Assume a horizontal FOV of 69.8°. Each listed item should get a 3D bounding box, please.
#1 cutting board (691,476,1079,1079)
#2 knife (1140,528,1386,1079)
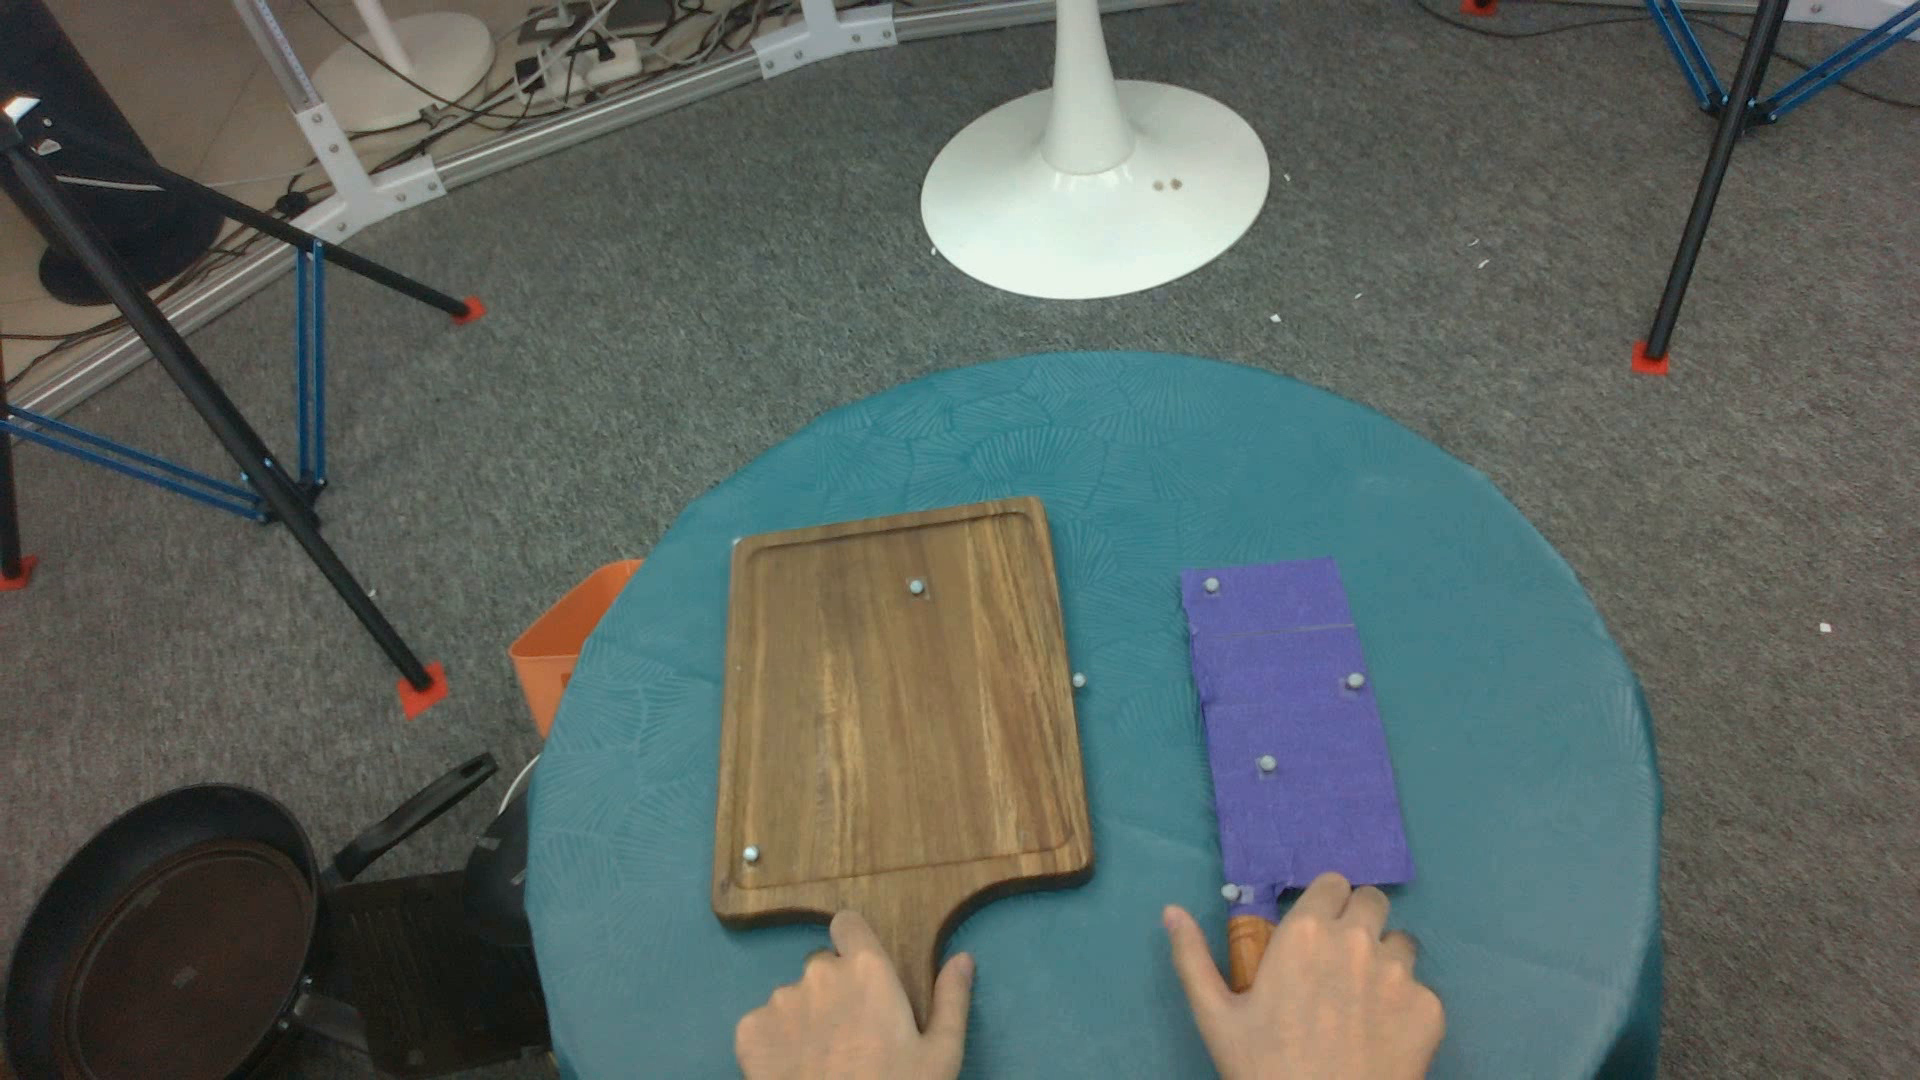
[{"bbox_3d":[-0.045,0.114,0.739,0.201,0.023,0.353,-8,51,2],"label":"cutting board"},{"bbox_3d":[0.162,0.114,0.702,0.104,0.032,0.316,-6,50,4],"label":"knife"}]
